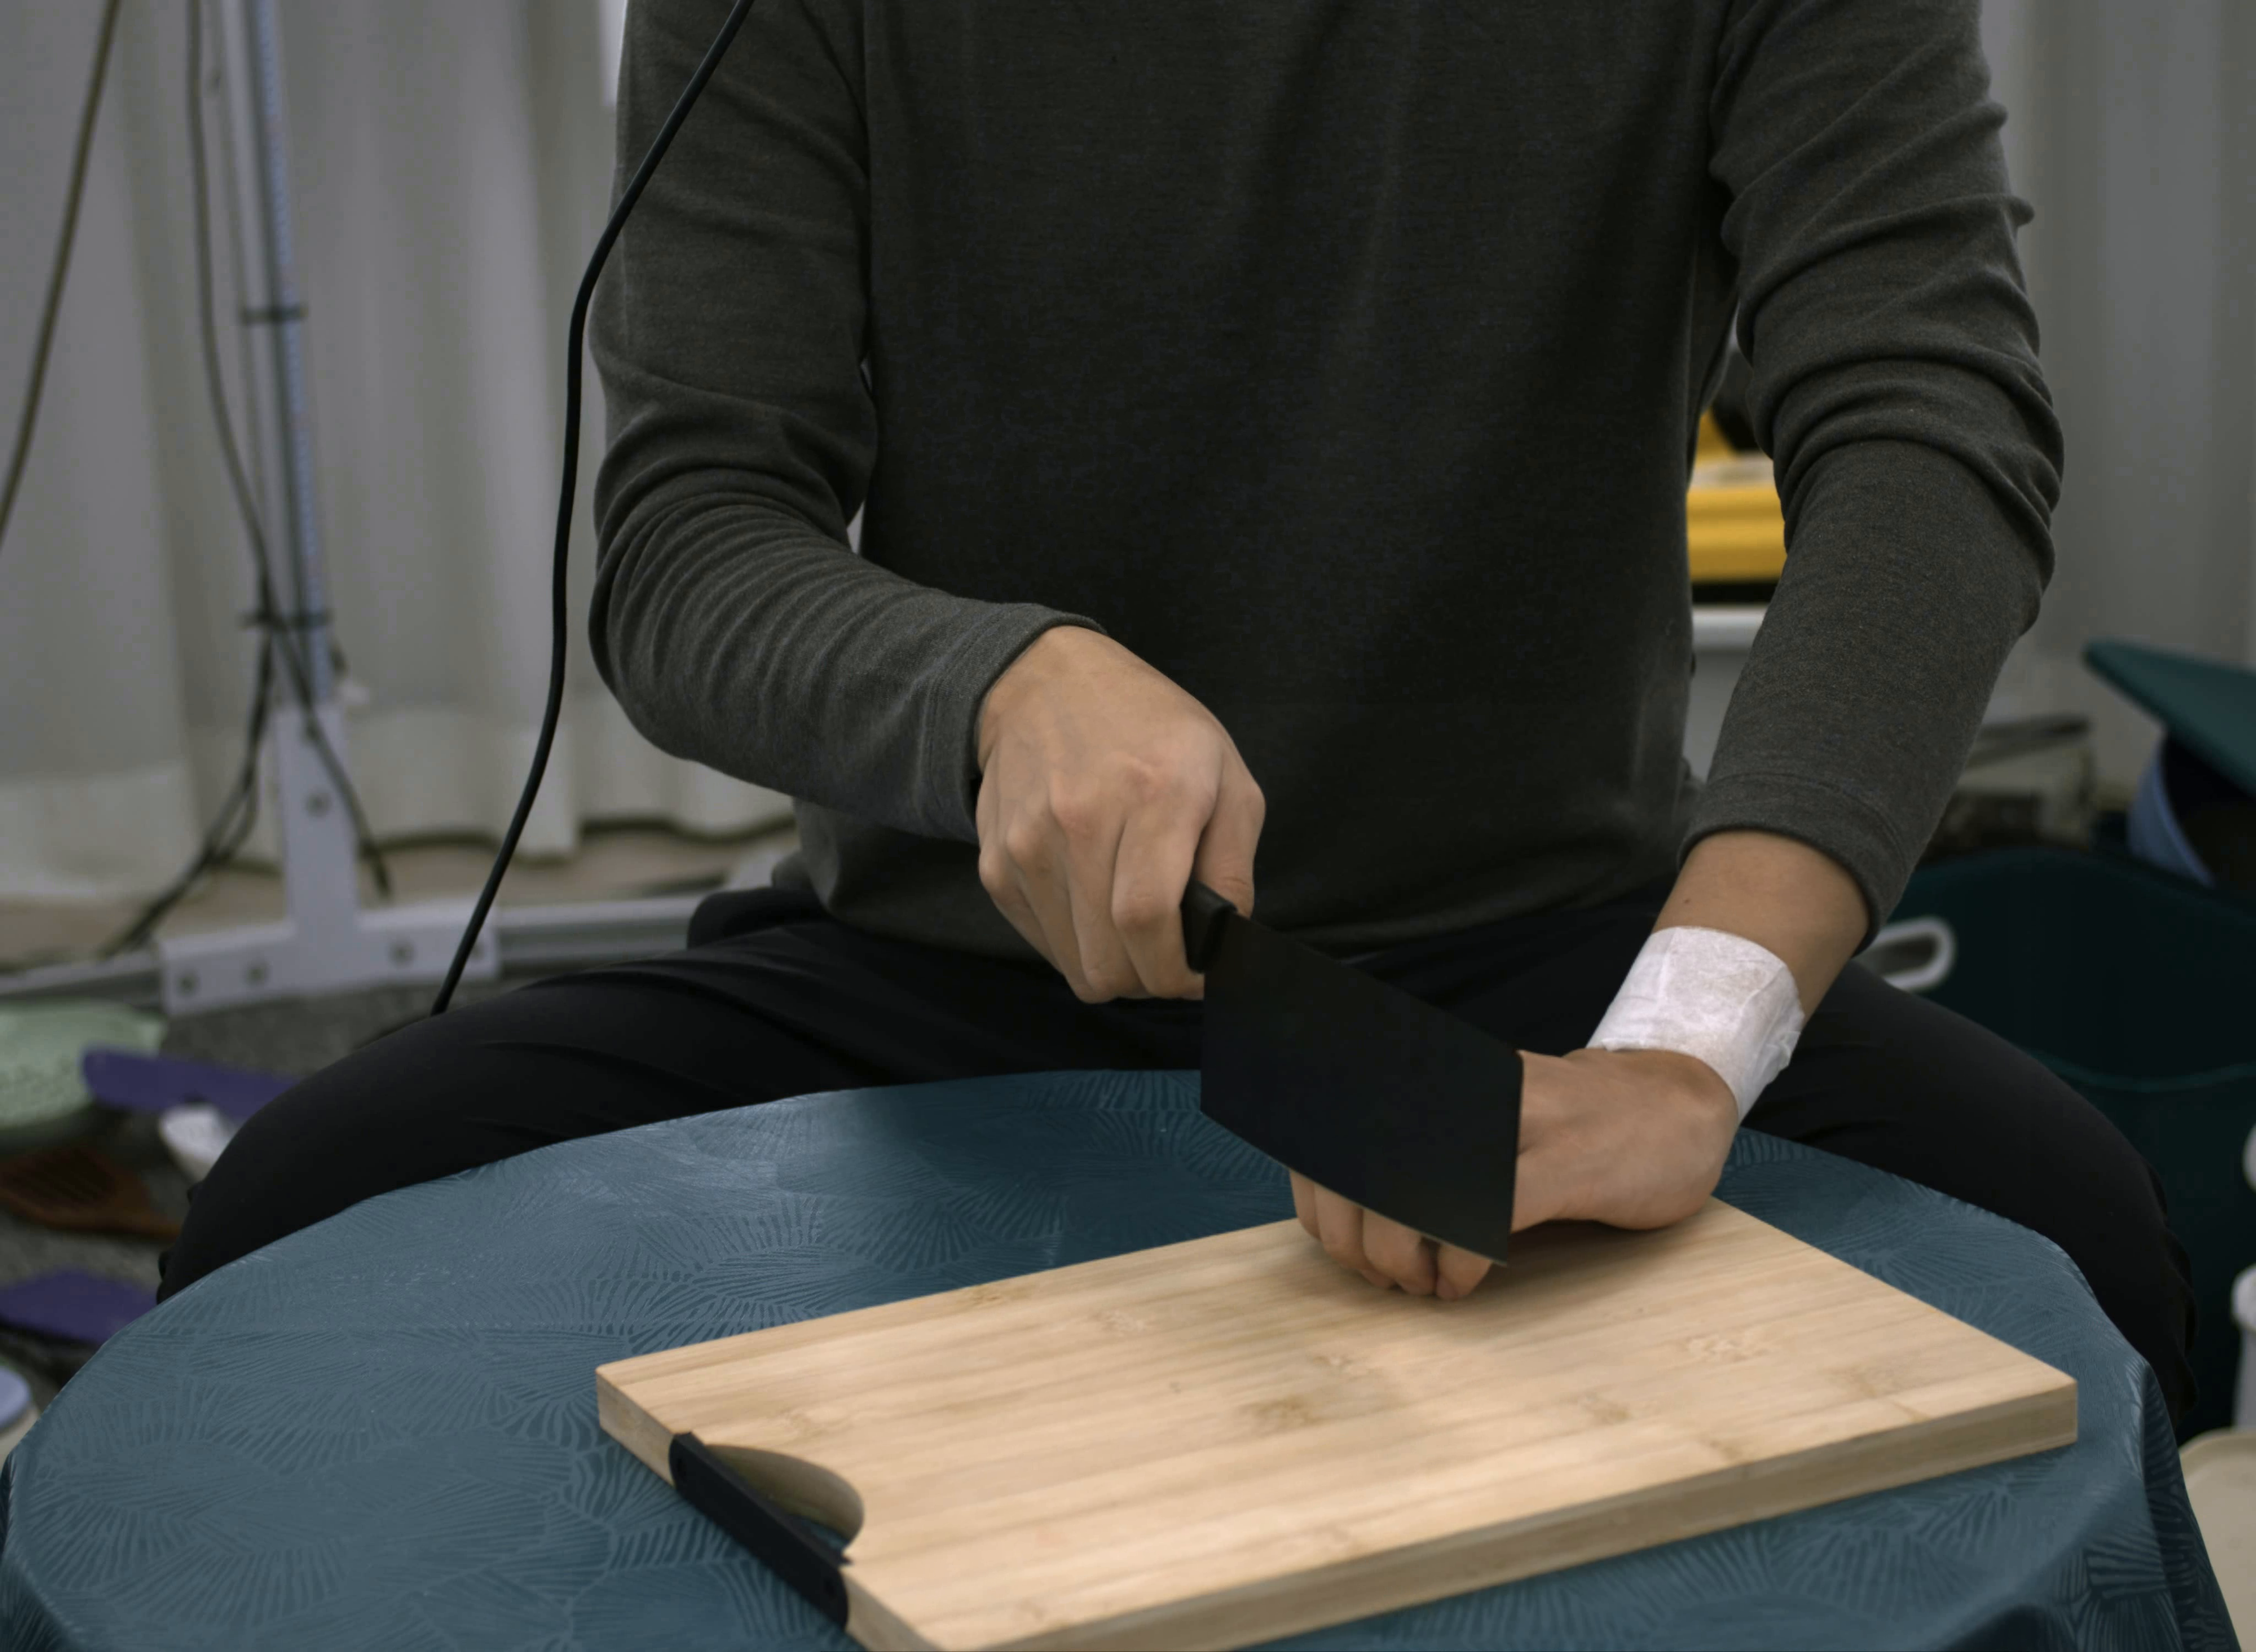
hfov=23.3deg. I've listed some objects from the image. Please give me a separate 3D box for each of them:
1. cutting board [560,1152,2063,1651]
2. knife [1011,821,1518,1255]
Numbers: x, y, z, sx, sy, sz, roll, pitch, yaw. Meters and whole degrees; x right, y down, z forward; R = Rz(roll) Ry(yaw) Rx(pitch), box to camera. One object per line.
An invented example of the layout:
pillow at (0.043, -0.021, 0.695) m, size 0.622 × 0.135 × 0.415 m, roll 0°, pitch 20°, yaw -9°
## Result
cutting board at (0.049, 0.161, 1.504) m, size 0.347 × 0.023 × 0.252 m, roll -10°, pitch 16°, yaw -26°
knife at (0.036, 0.054, 1.582) m, size 0.021 × 0.080 × 0.305 m, roll -1°, pitch 17°, yaw -26°
